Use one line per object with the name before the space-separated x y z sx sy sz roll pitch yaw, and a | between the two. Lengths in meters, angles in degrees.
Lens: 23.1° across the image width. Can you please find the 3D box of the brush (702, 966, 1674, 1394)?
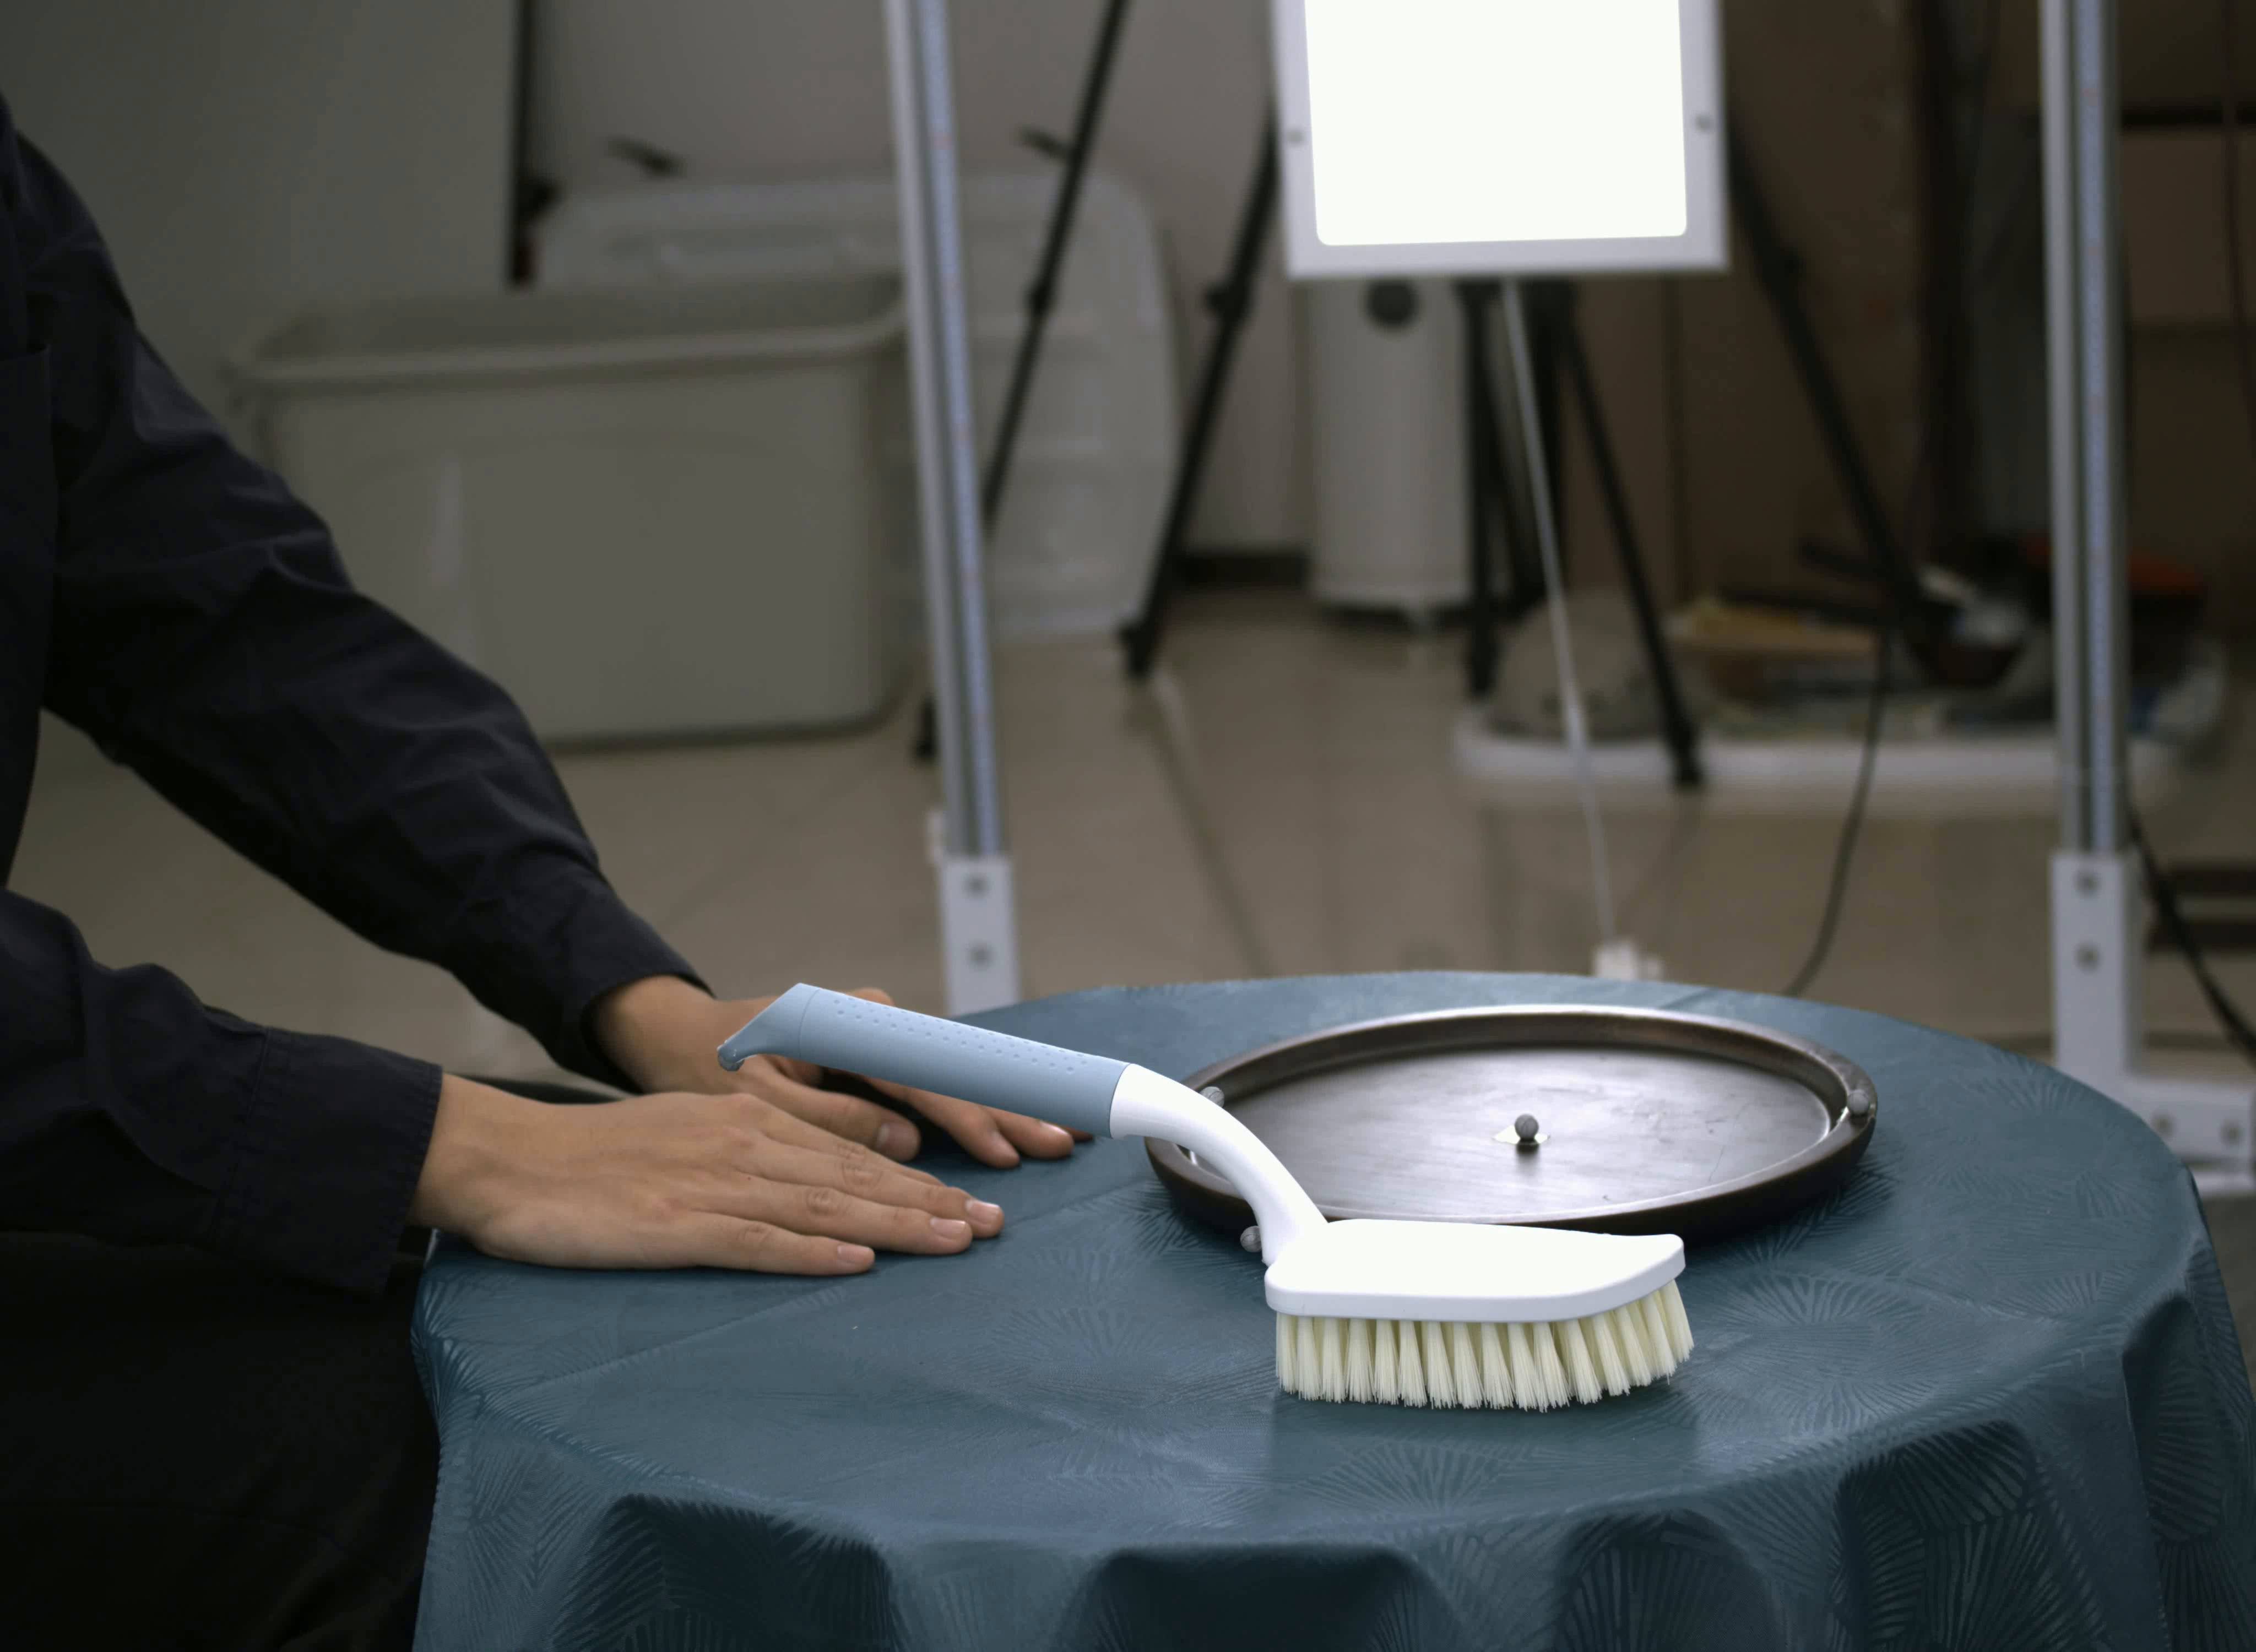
brush | 0.014 0.124 1.722 0.329 0.084 0.082 13 -18 20

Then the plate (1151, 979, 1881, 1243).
plate | 0.134 0.100 1.900 0.254 0.029 0.254 -6 15 0
